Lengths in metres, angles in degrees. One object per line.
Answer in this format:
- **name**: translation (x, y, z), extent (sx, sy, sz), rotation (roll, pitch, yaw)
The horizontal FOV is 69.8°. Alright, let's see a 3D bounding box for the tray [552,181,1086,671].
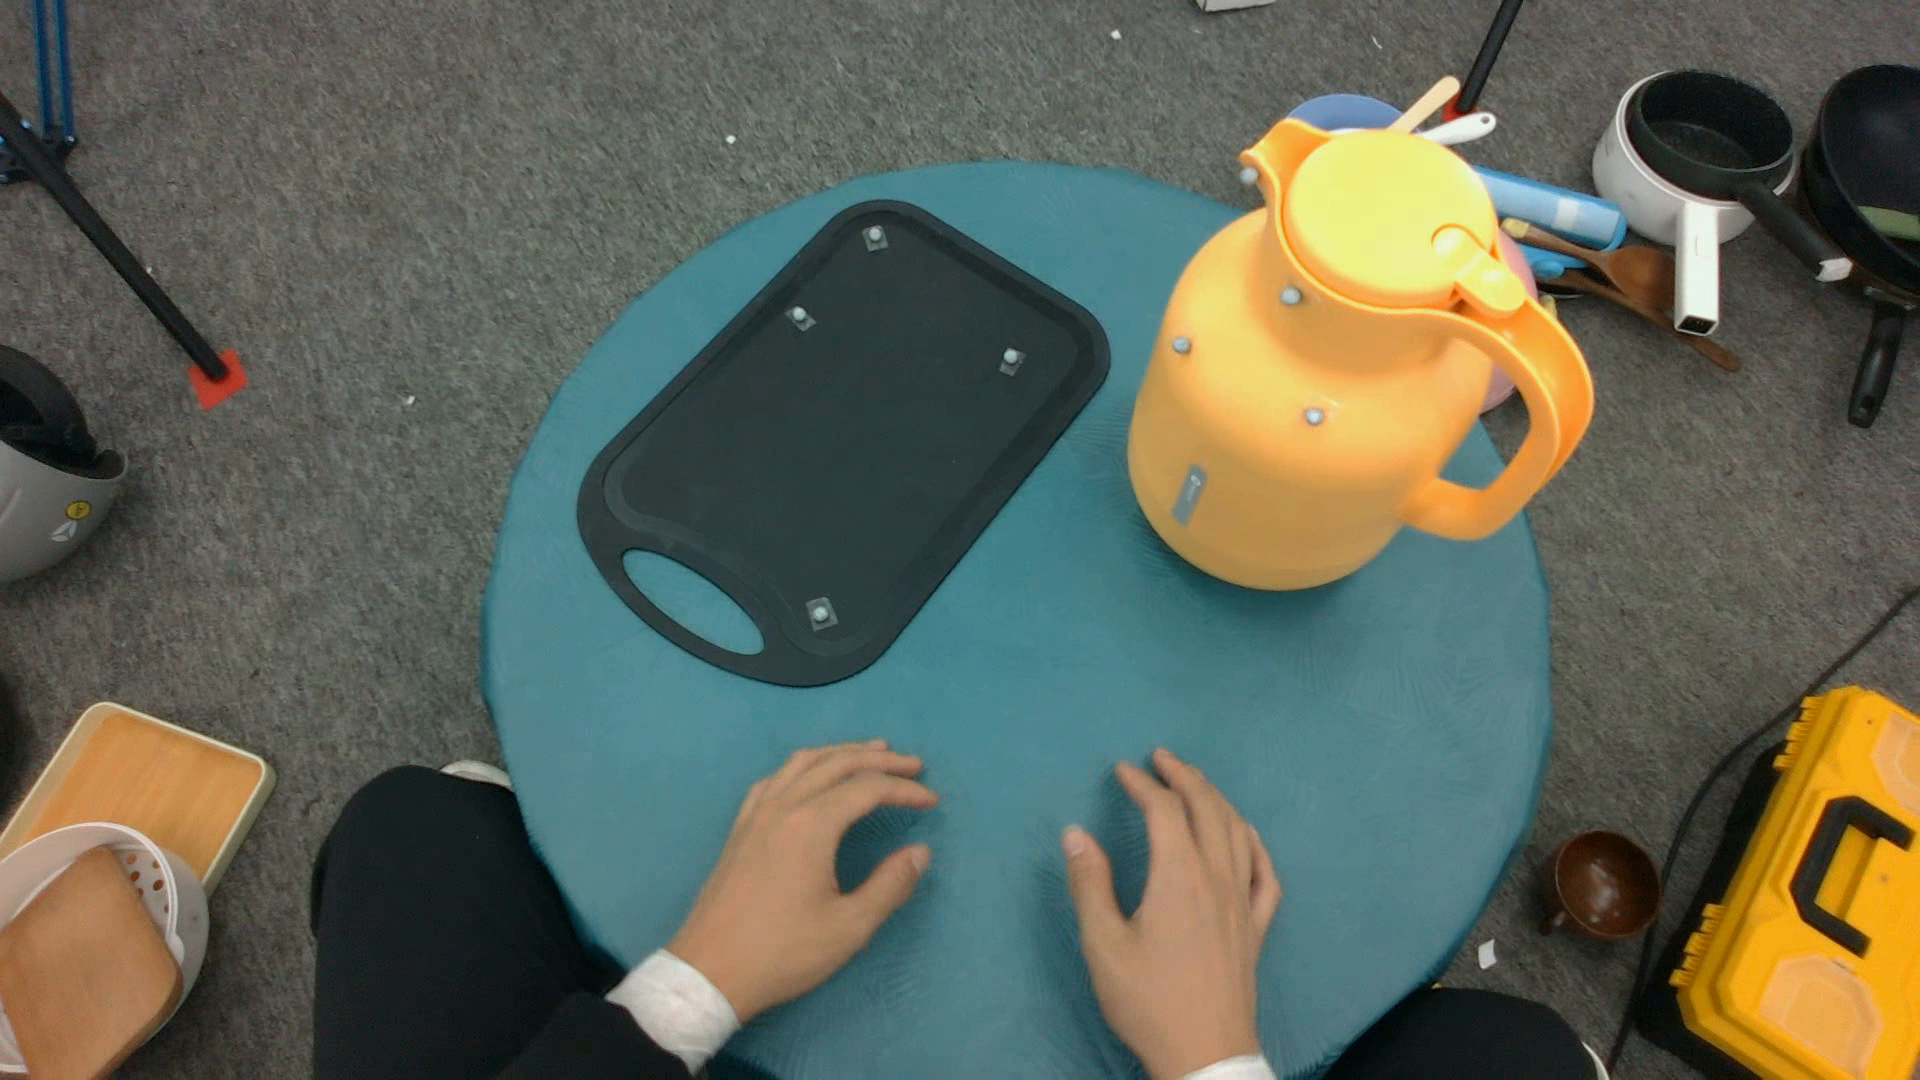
- **tray**: translation (-0.082, -0.075, 0.814), extent (0.211, 0.010, 0.326), rotation (34, 67, 13)

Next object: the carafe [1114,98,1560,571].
- **carafe**: translation (0.182, -0.086, 0.694), extent (0.164, 0.259, 0.202), rotation (-40, 71, -16)
